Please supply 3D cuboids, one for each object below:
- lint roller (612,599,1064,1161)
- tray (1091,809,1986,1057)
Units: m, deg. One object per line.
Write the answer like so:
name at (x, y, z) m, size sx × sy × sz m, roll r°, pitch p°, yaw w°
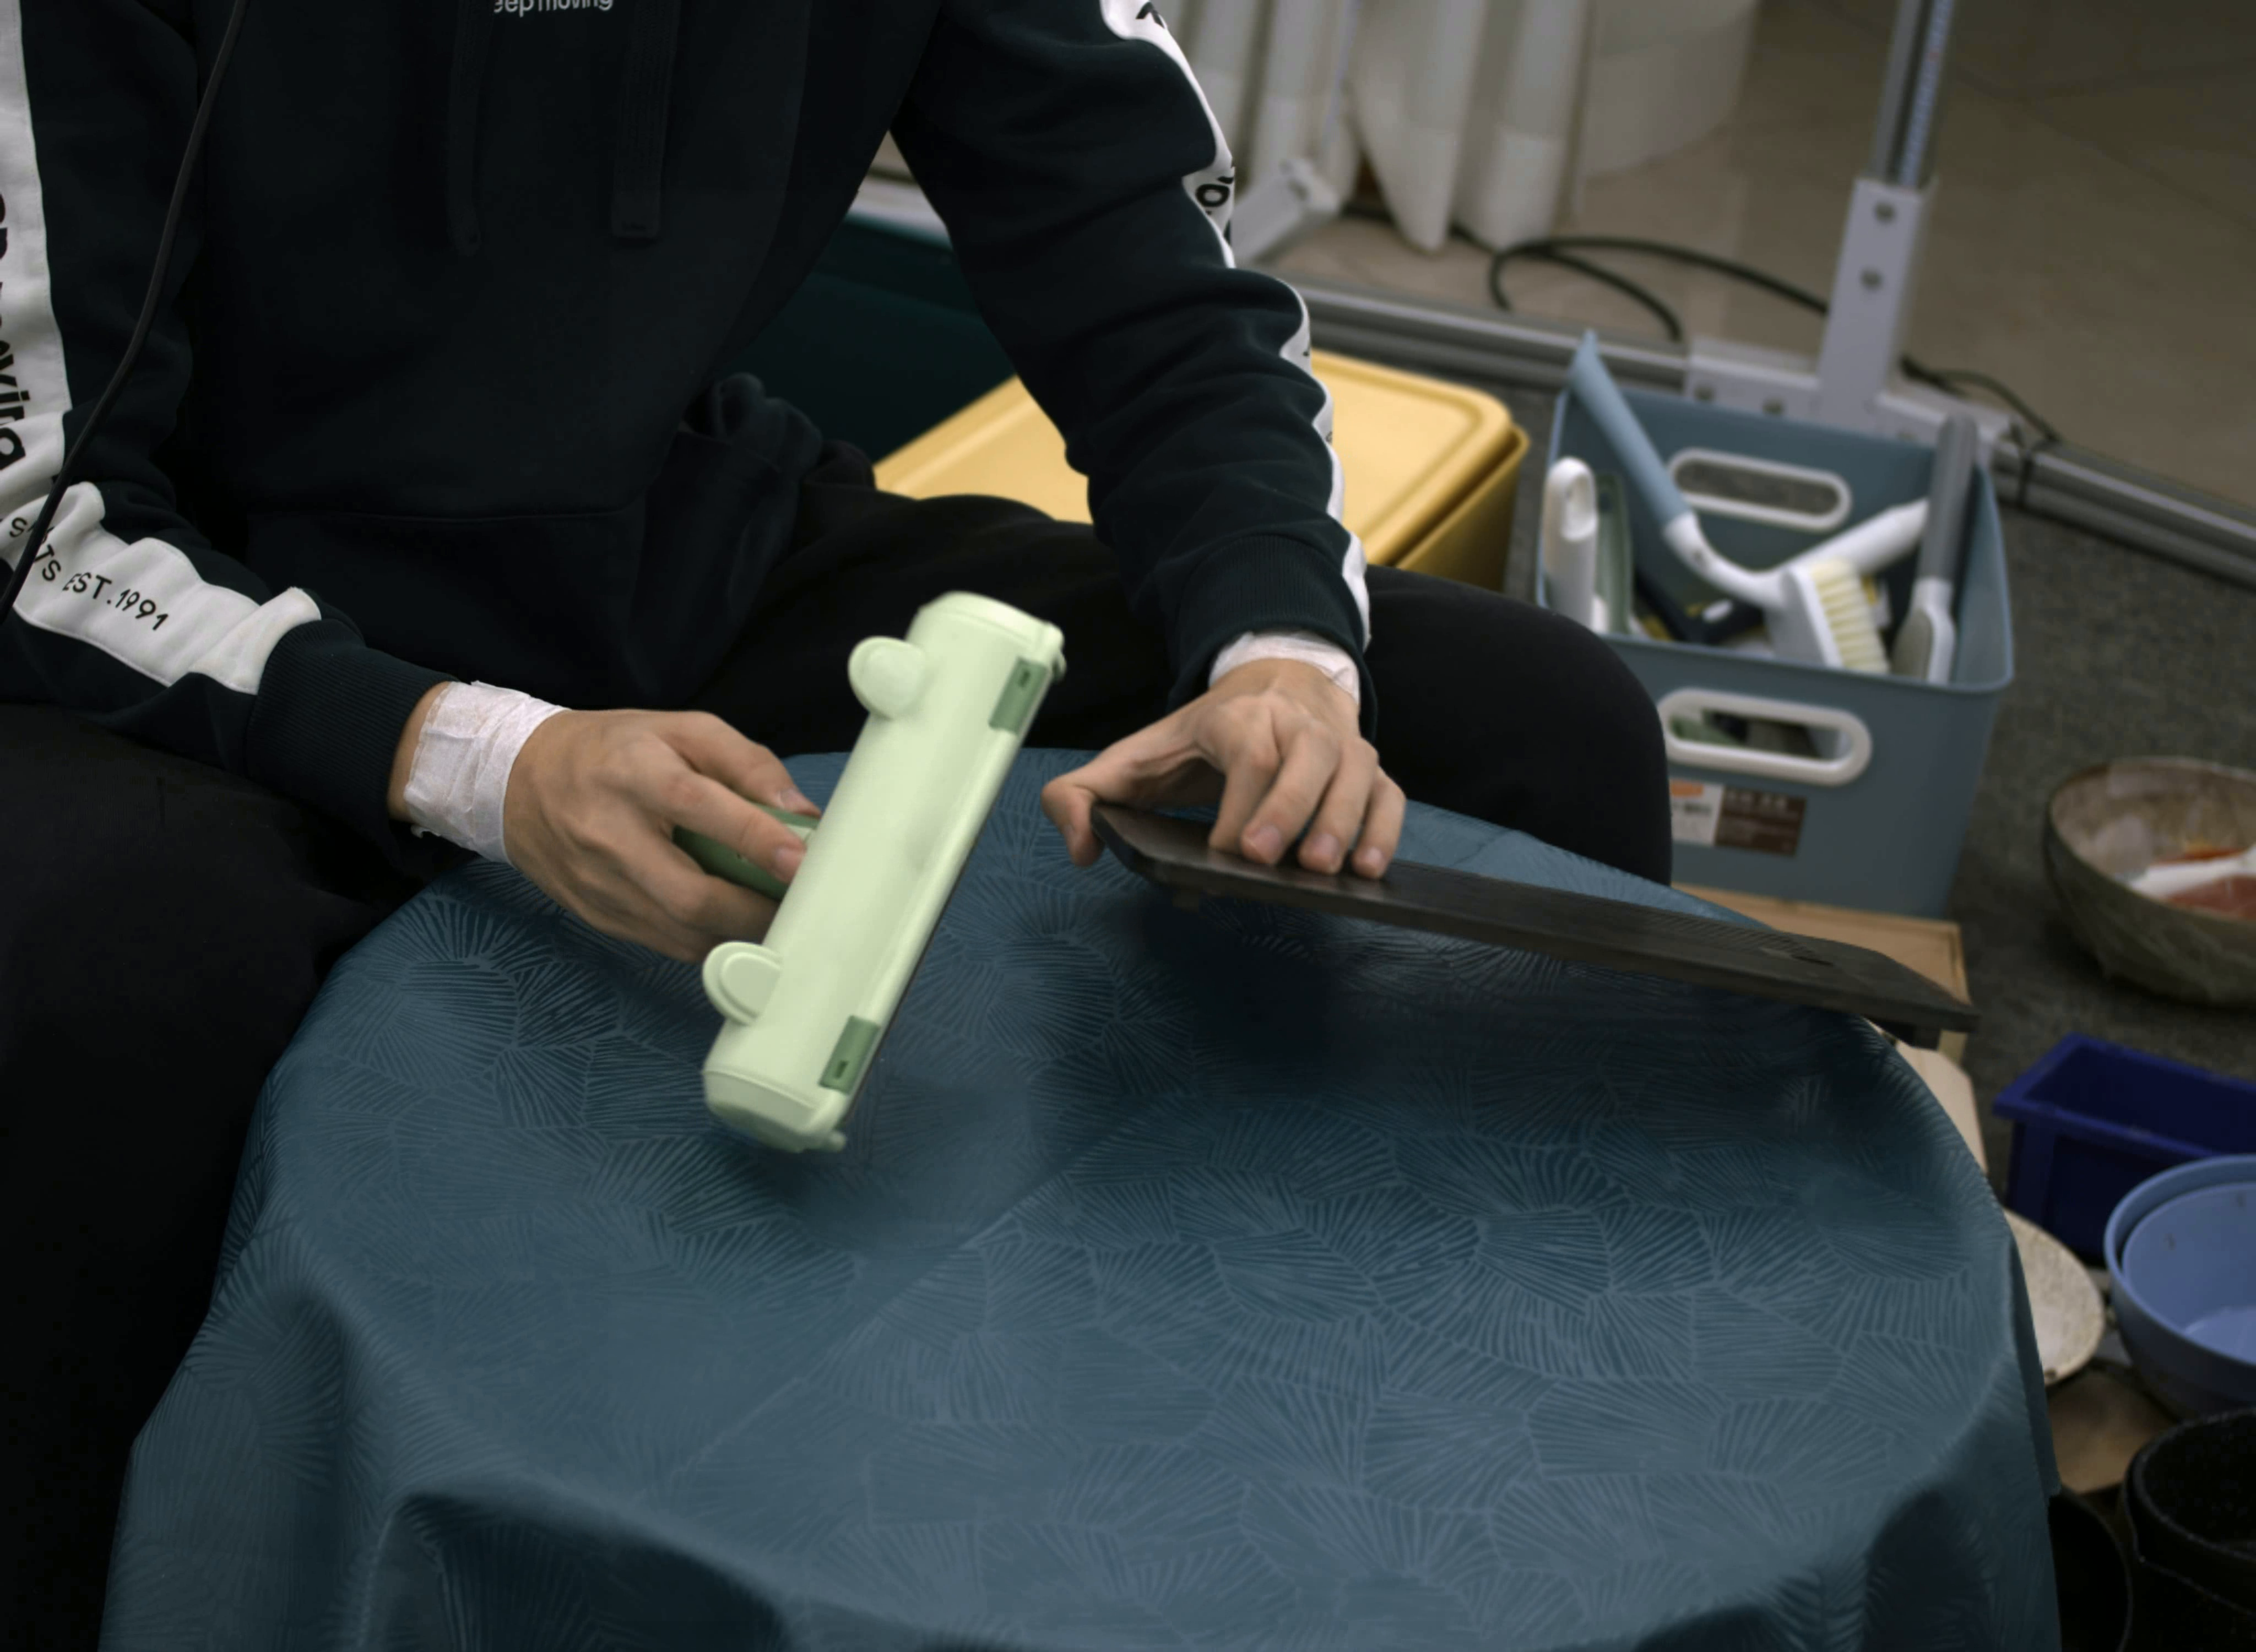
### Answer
lint roller at (-0.128, 0.005, 1.823) m, size 0.184 × 0.199 × 0.081 m, roll 13°, pitch -20°, yaw 40°
tray at (0.142, 0.038, 1.900) m, size 0.304 × 0.018 × 0.170 m, roll 10°, pitch 6°, yaw -7°
